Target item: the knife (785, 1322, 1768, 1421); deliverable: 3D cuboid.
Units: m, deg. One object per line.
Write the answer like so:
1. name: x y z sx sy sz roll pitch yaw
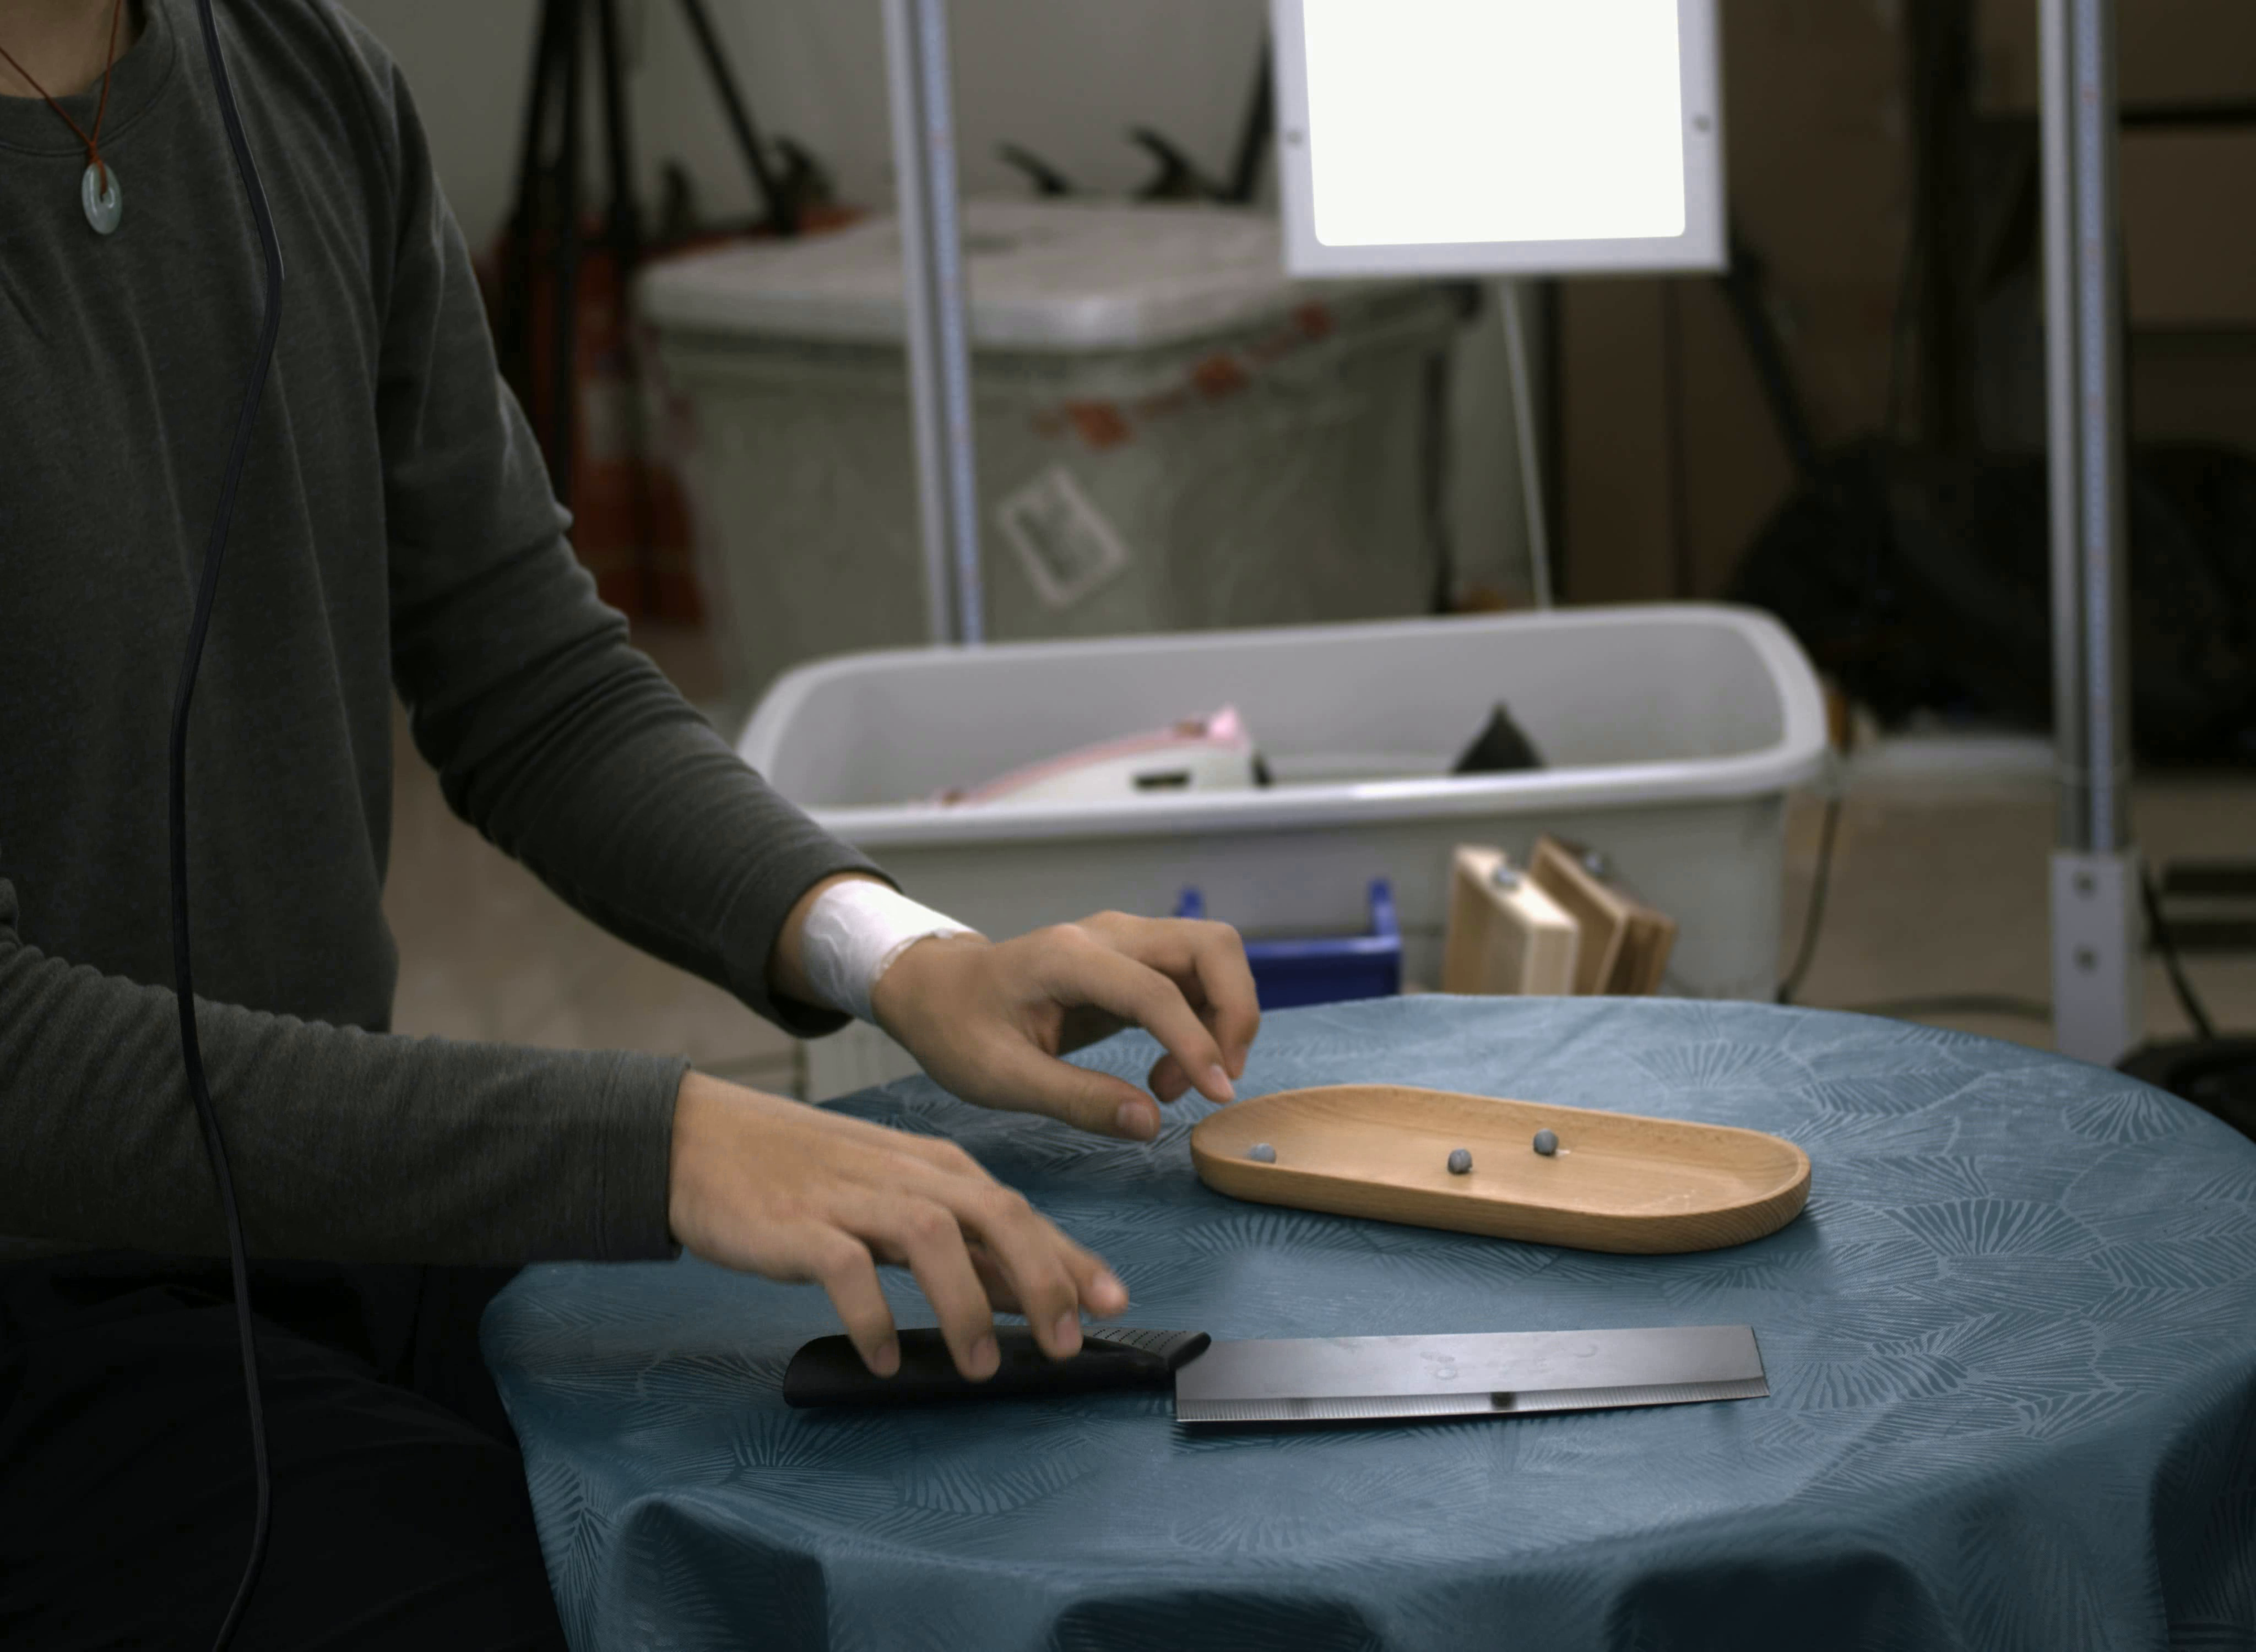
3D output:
1. knife: 0.045 0.168 1.688 0.303 0.021 0.080 -2 15 8

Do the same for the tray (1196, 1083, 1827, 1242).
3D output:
1. tray: 0.129 0.114 1.867 0.236 0.020 0.099 5 19 34
